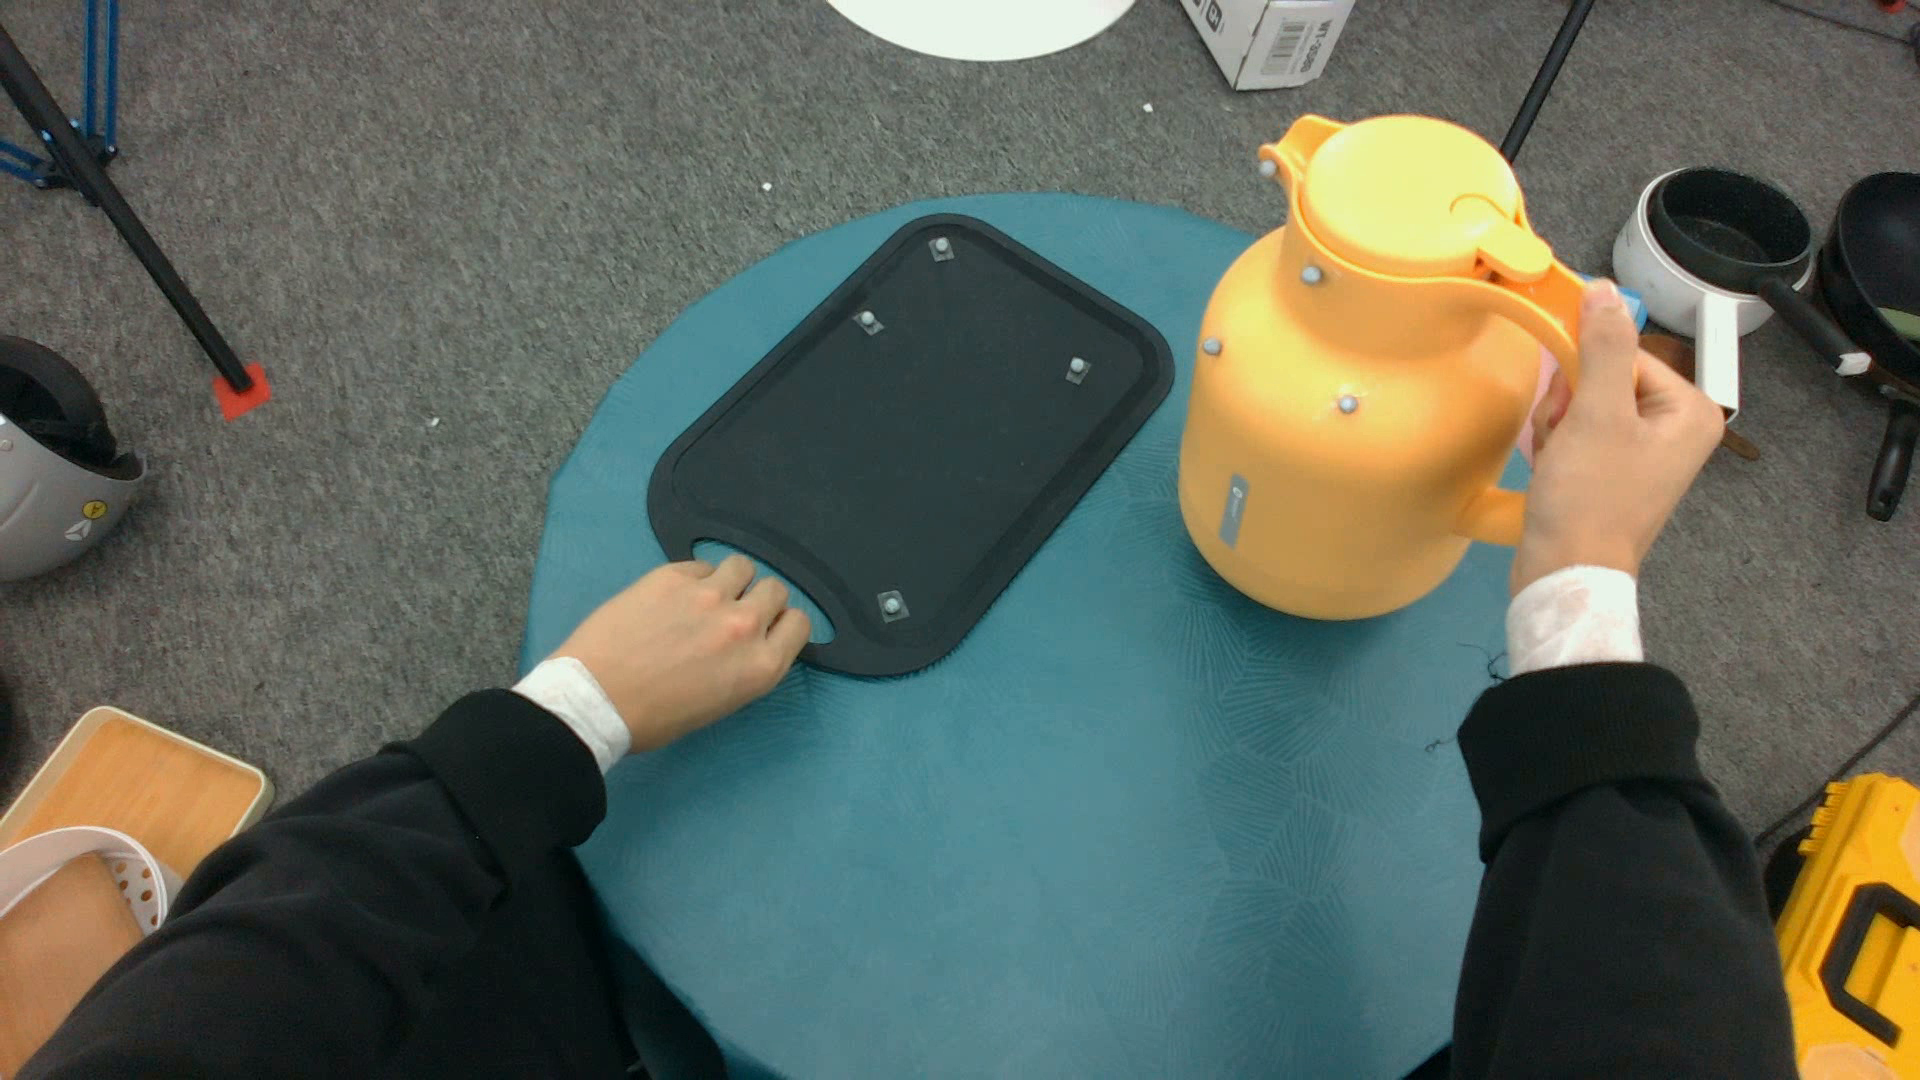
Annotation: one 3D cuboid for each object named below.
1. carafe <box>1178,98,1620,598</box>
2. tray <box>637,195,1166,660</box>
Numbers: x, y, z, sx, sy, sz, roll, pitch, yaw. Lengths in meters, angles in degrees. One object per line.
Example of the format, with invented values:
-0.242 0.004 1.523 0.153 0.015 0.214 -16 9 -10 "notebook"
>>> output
0.208 -0.080 0.681 0.164 0.259 0.202 -37 62 -16 "carafe"
-0.032 -0.076 0.816 0.211 0.010 0.327 34 63 14 "tray"
